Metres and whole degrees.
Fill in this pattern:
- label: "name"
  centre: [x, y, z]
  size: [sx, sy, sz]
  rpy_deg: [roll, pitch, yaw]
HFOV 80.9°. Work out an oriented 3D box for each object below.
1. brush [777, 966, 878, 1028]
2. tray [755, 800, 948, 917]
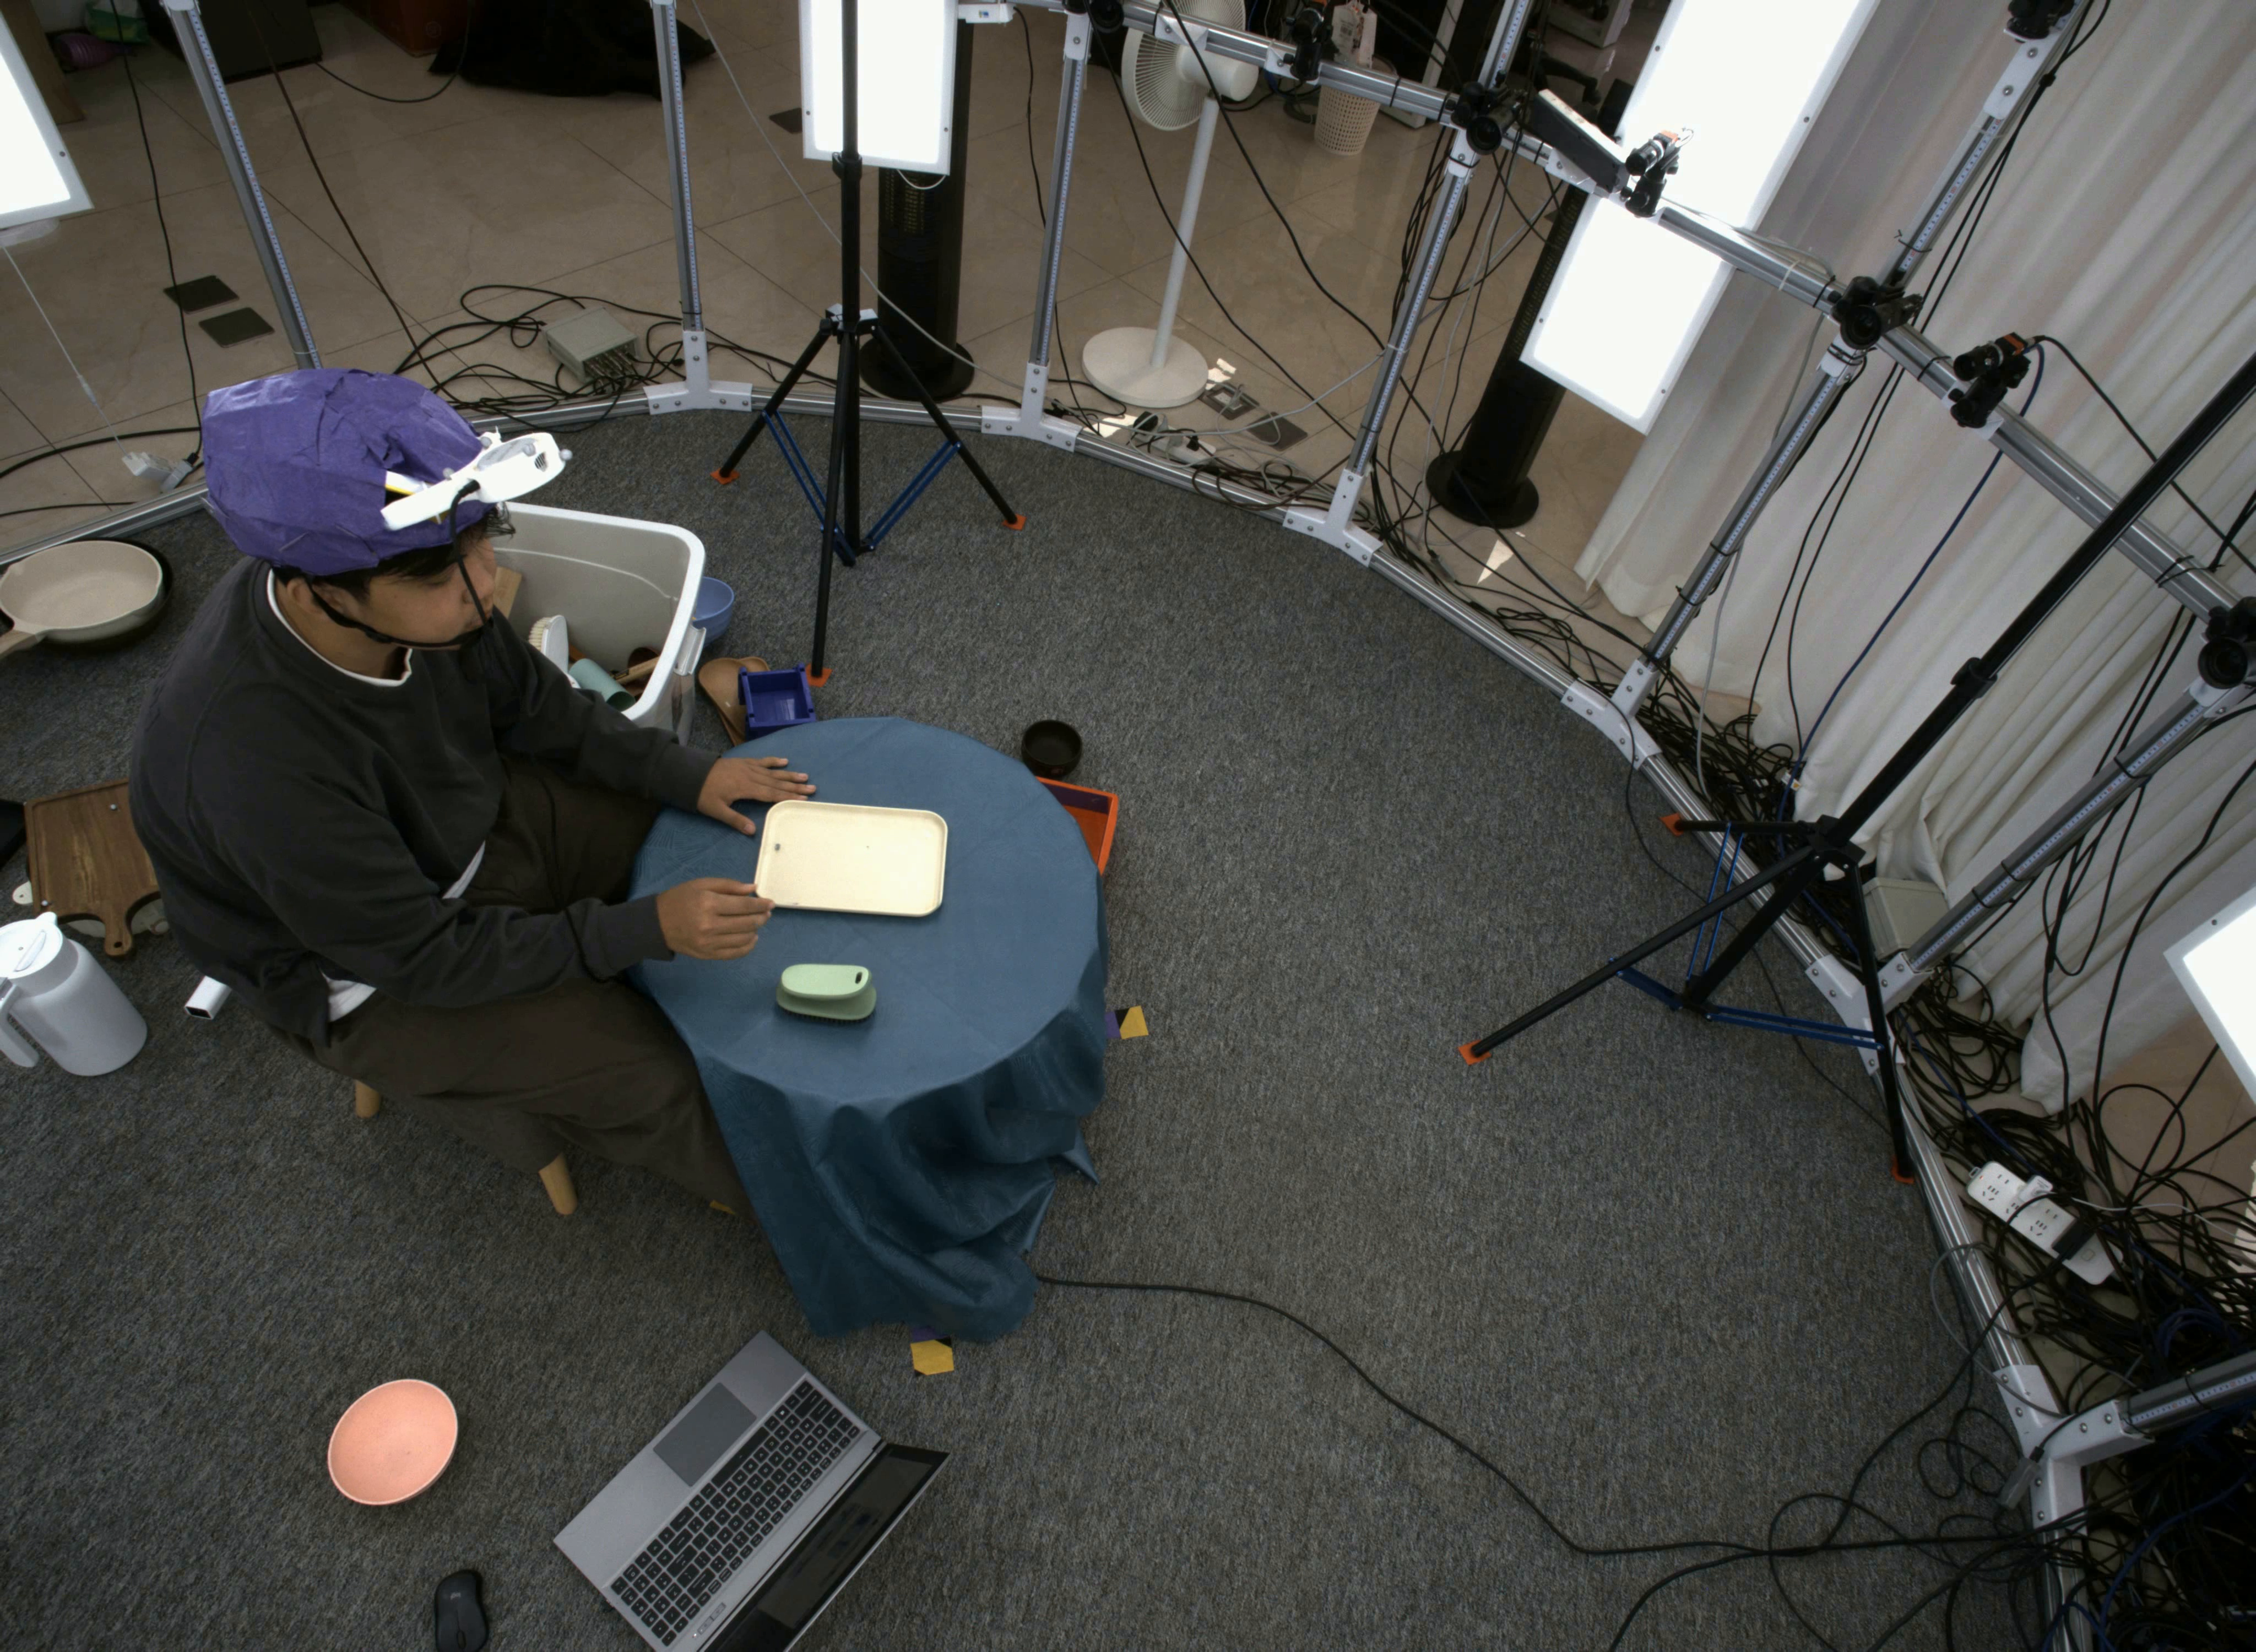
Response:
- label: "brush"
  centre: [-0.358, 0.200, 1.553]
  size: [0.121, 0.078, 0.058]
  rpy_deg: [-2, 51, 4]
- label: "tray"
  centre: [-0.357, 0.042, 1.693]
  size: [0.239, 0.018, 0.168]
  rpy_deg: [5, 52, -10]
